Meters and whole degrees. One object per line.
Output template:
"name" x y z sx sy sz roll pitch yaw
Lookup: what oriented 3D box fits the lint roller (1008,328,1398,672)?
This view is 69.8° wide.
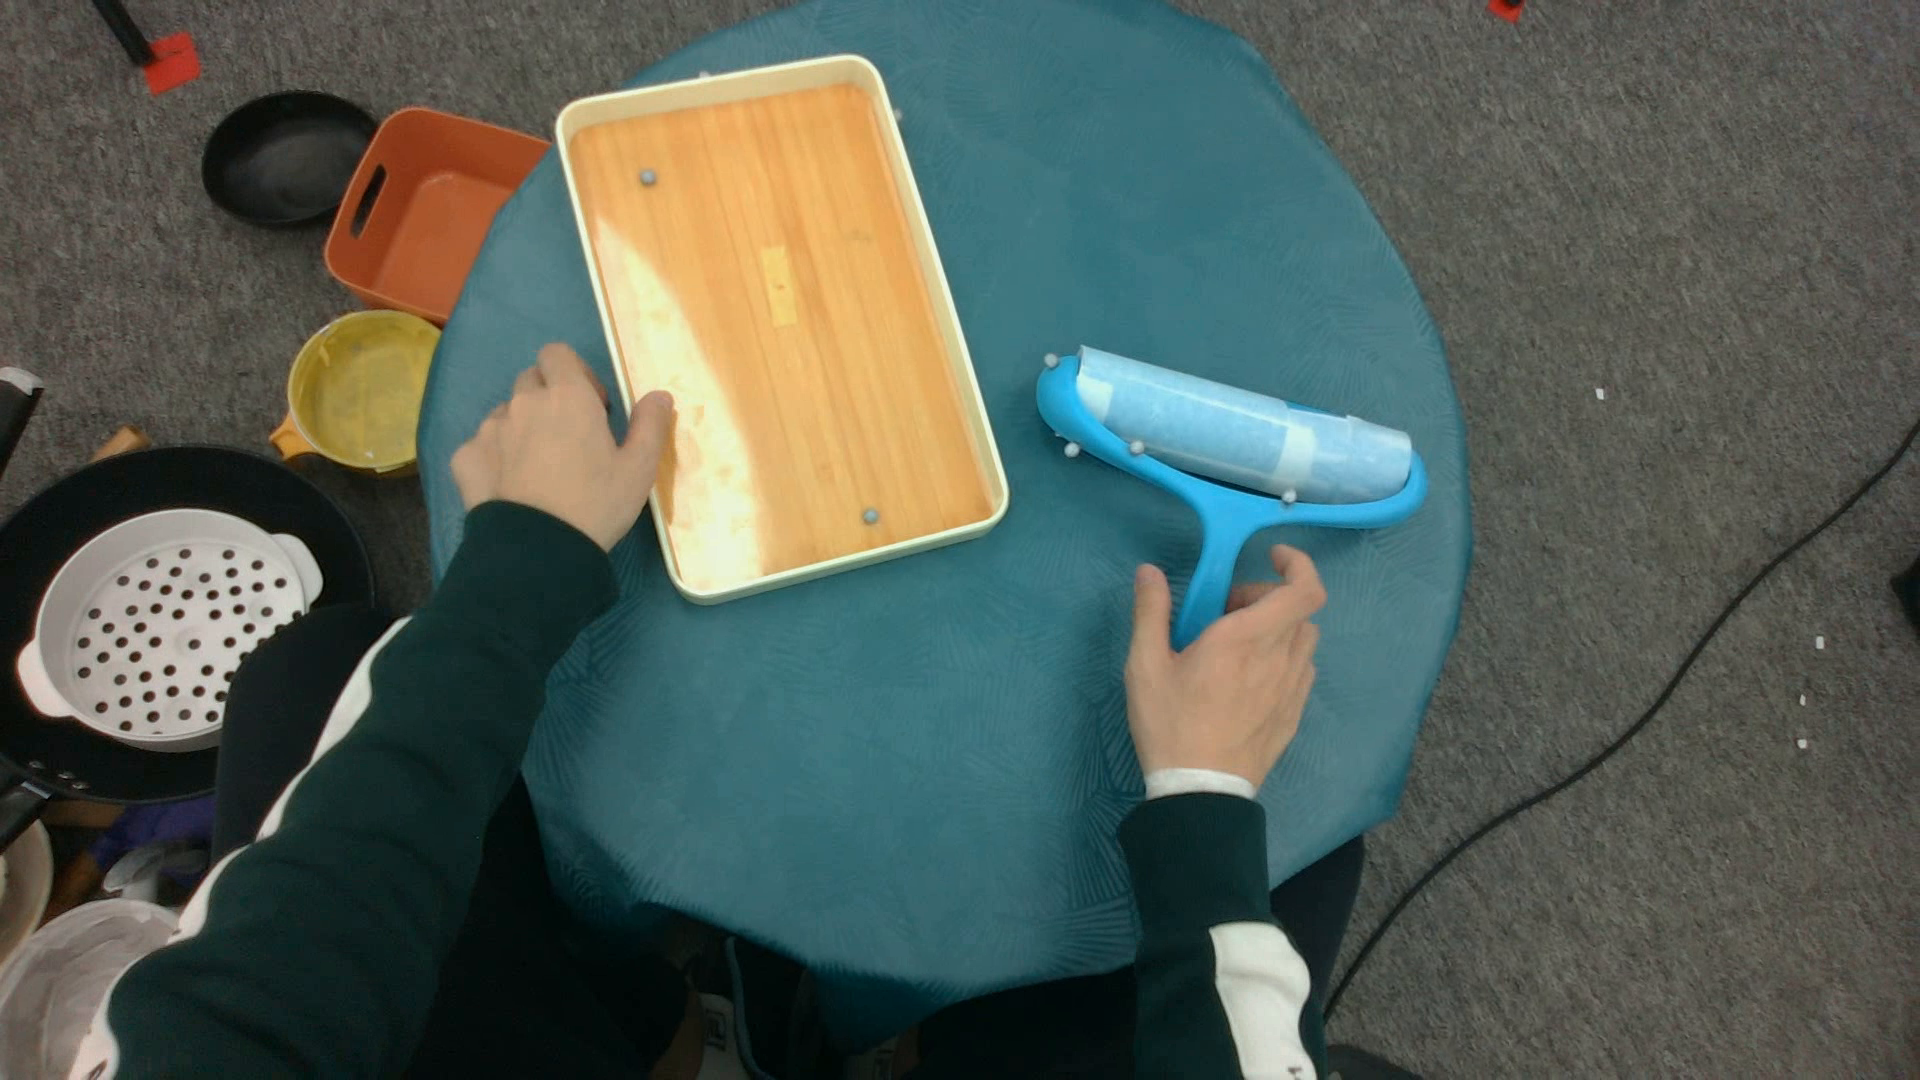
"lint roller" 0.133 -0.019 0.768 0.229 0.067 0.181 10 72 -8

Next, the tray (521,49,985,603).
"tray" -0.118 -0.128 0.775 0.192 0.027 0.300 -16 77 -13
